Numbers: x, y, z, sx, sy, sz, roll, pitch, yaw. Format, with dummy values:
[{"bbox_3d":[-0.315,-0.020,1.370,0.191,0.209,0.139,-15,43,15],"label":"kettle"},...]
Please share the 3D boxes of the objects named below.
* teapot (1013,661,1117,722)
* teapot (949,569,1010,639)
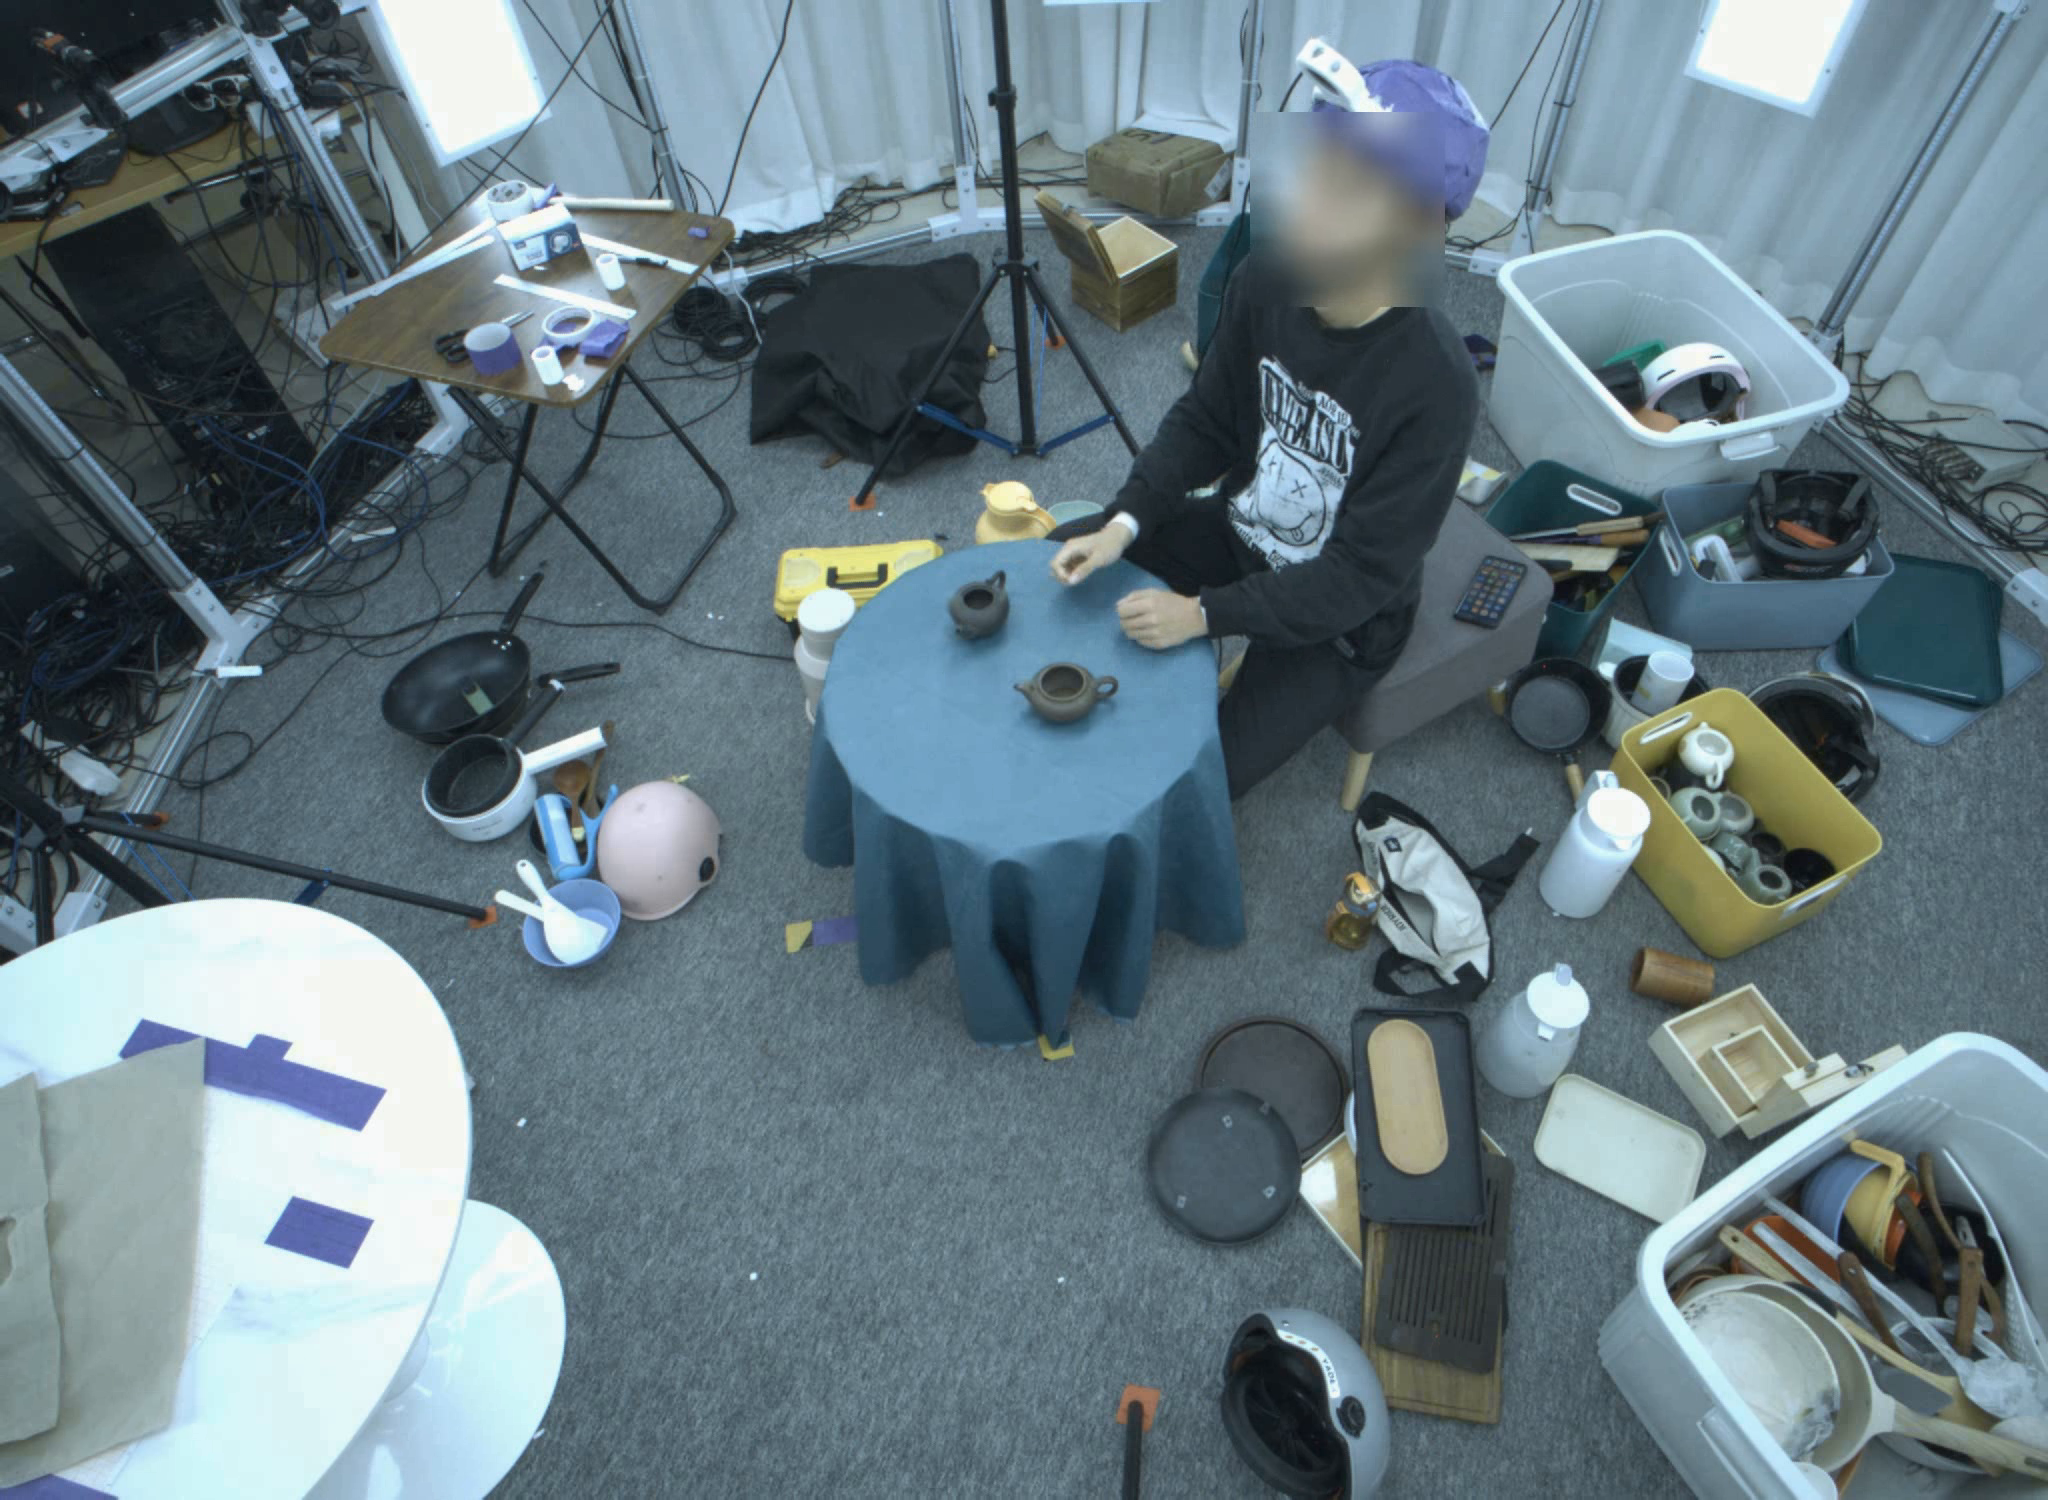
[{"bbox_3d":[0.061,-0.088,1.810,0.154,0.054,0.101,-11,57,-5],"label":"teapot"},{"bbox_3d":[-0.068,-0.222,1.905,0.091,0.065,0.154,22,59,15],"label":"teapot"}]
